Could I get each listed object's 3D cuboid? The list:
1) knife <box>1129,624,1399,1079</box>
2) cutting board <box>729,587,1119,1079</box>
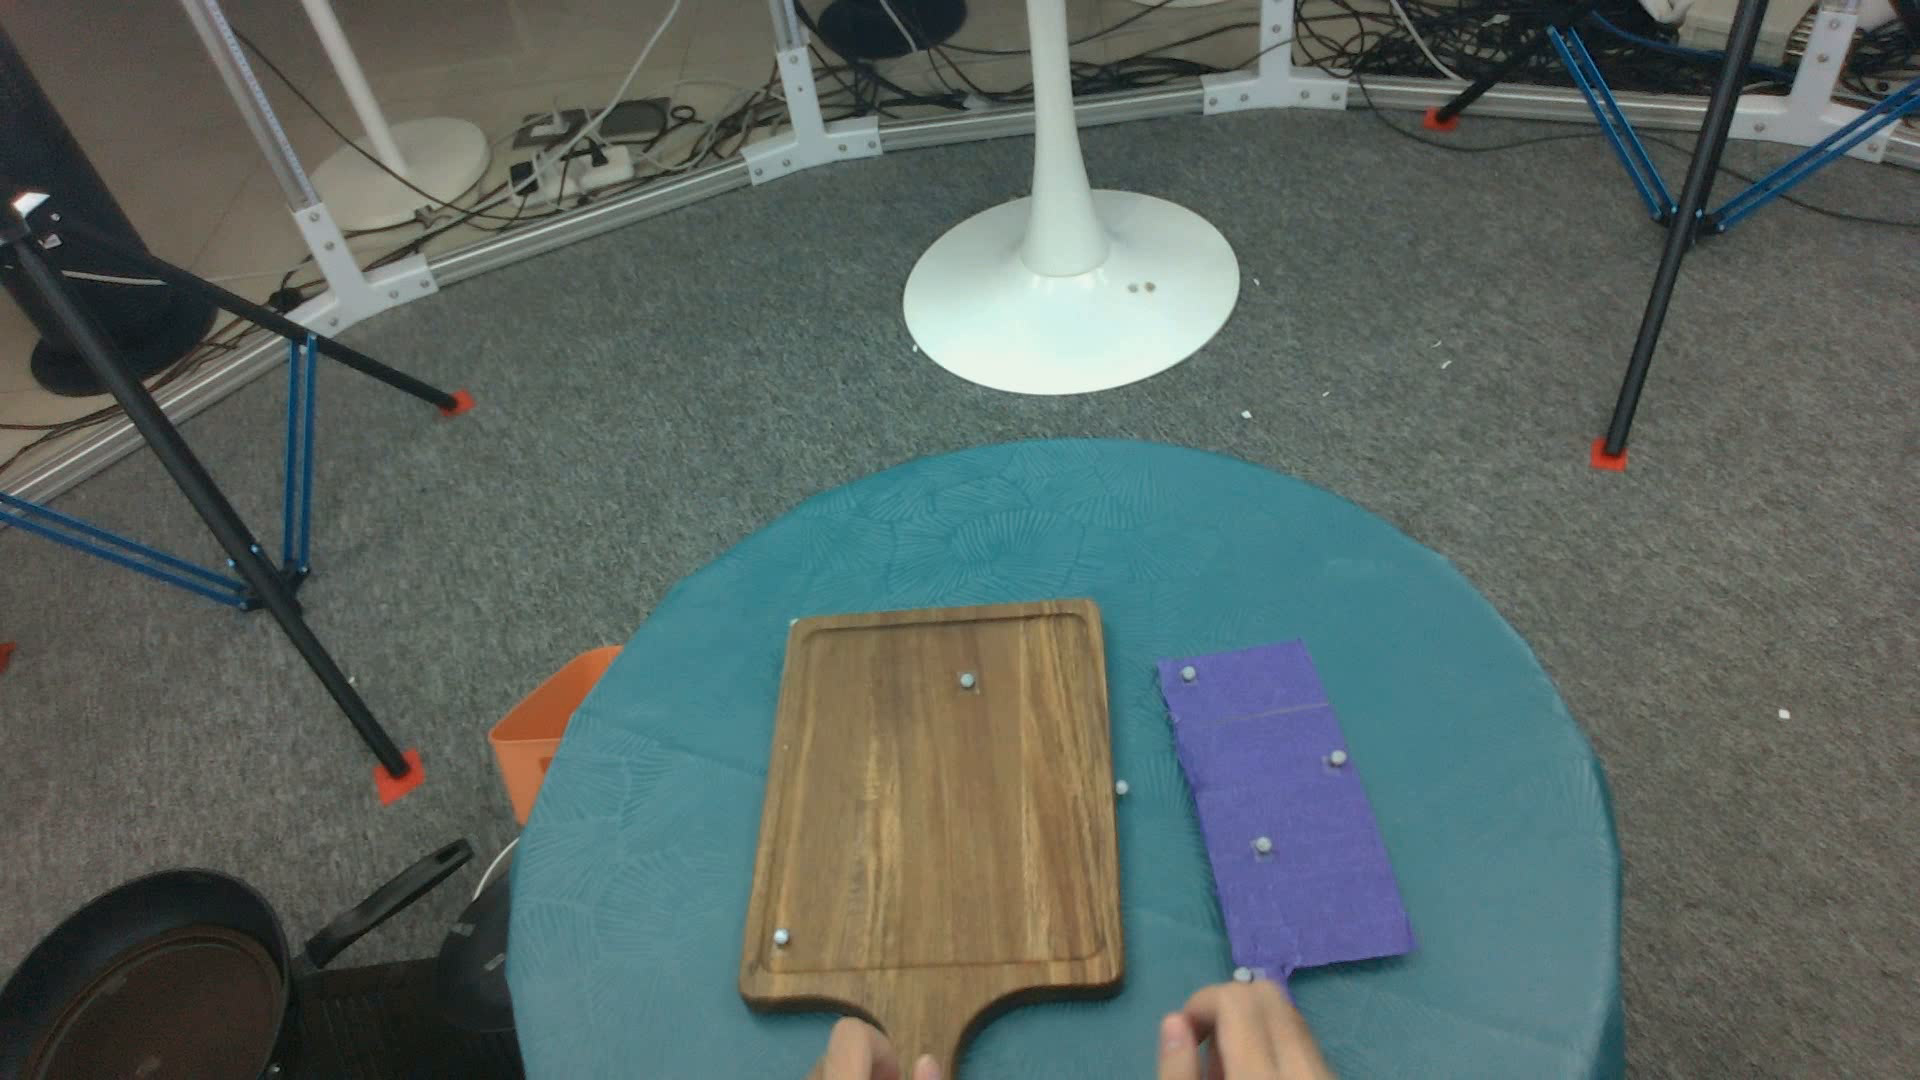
[{"bbox_3d":[0.168,0.162,0.712,0.104,0.032,0.316,-10,46,0],"label":"knife"},{"bbox_3d":[-0.020,0.169,0.740,0.201,0.023,0.354,-4,47,5],"label":"cutting board"}]
